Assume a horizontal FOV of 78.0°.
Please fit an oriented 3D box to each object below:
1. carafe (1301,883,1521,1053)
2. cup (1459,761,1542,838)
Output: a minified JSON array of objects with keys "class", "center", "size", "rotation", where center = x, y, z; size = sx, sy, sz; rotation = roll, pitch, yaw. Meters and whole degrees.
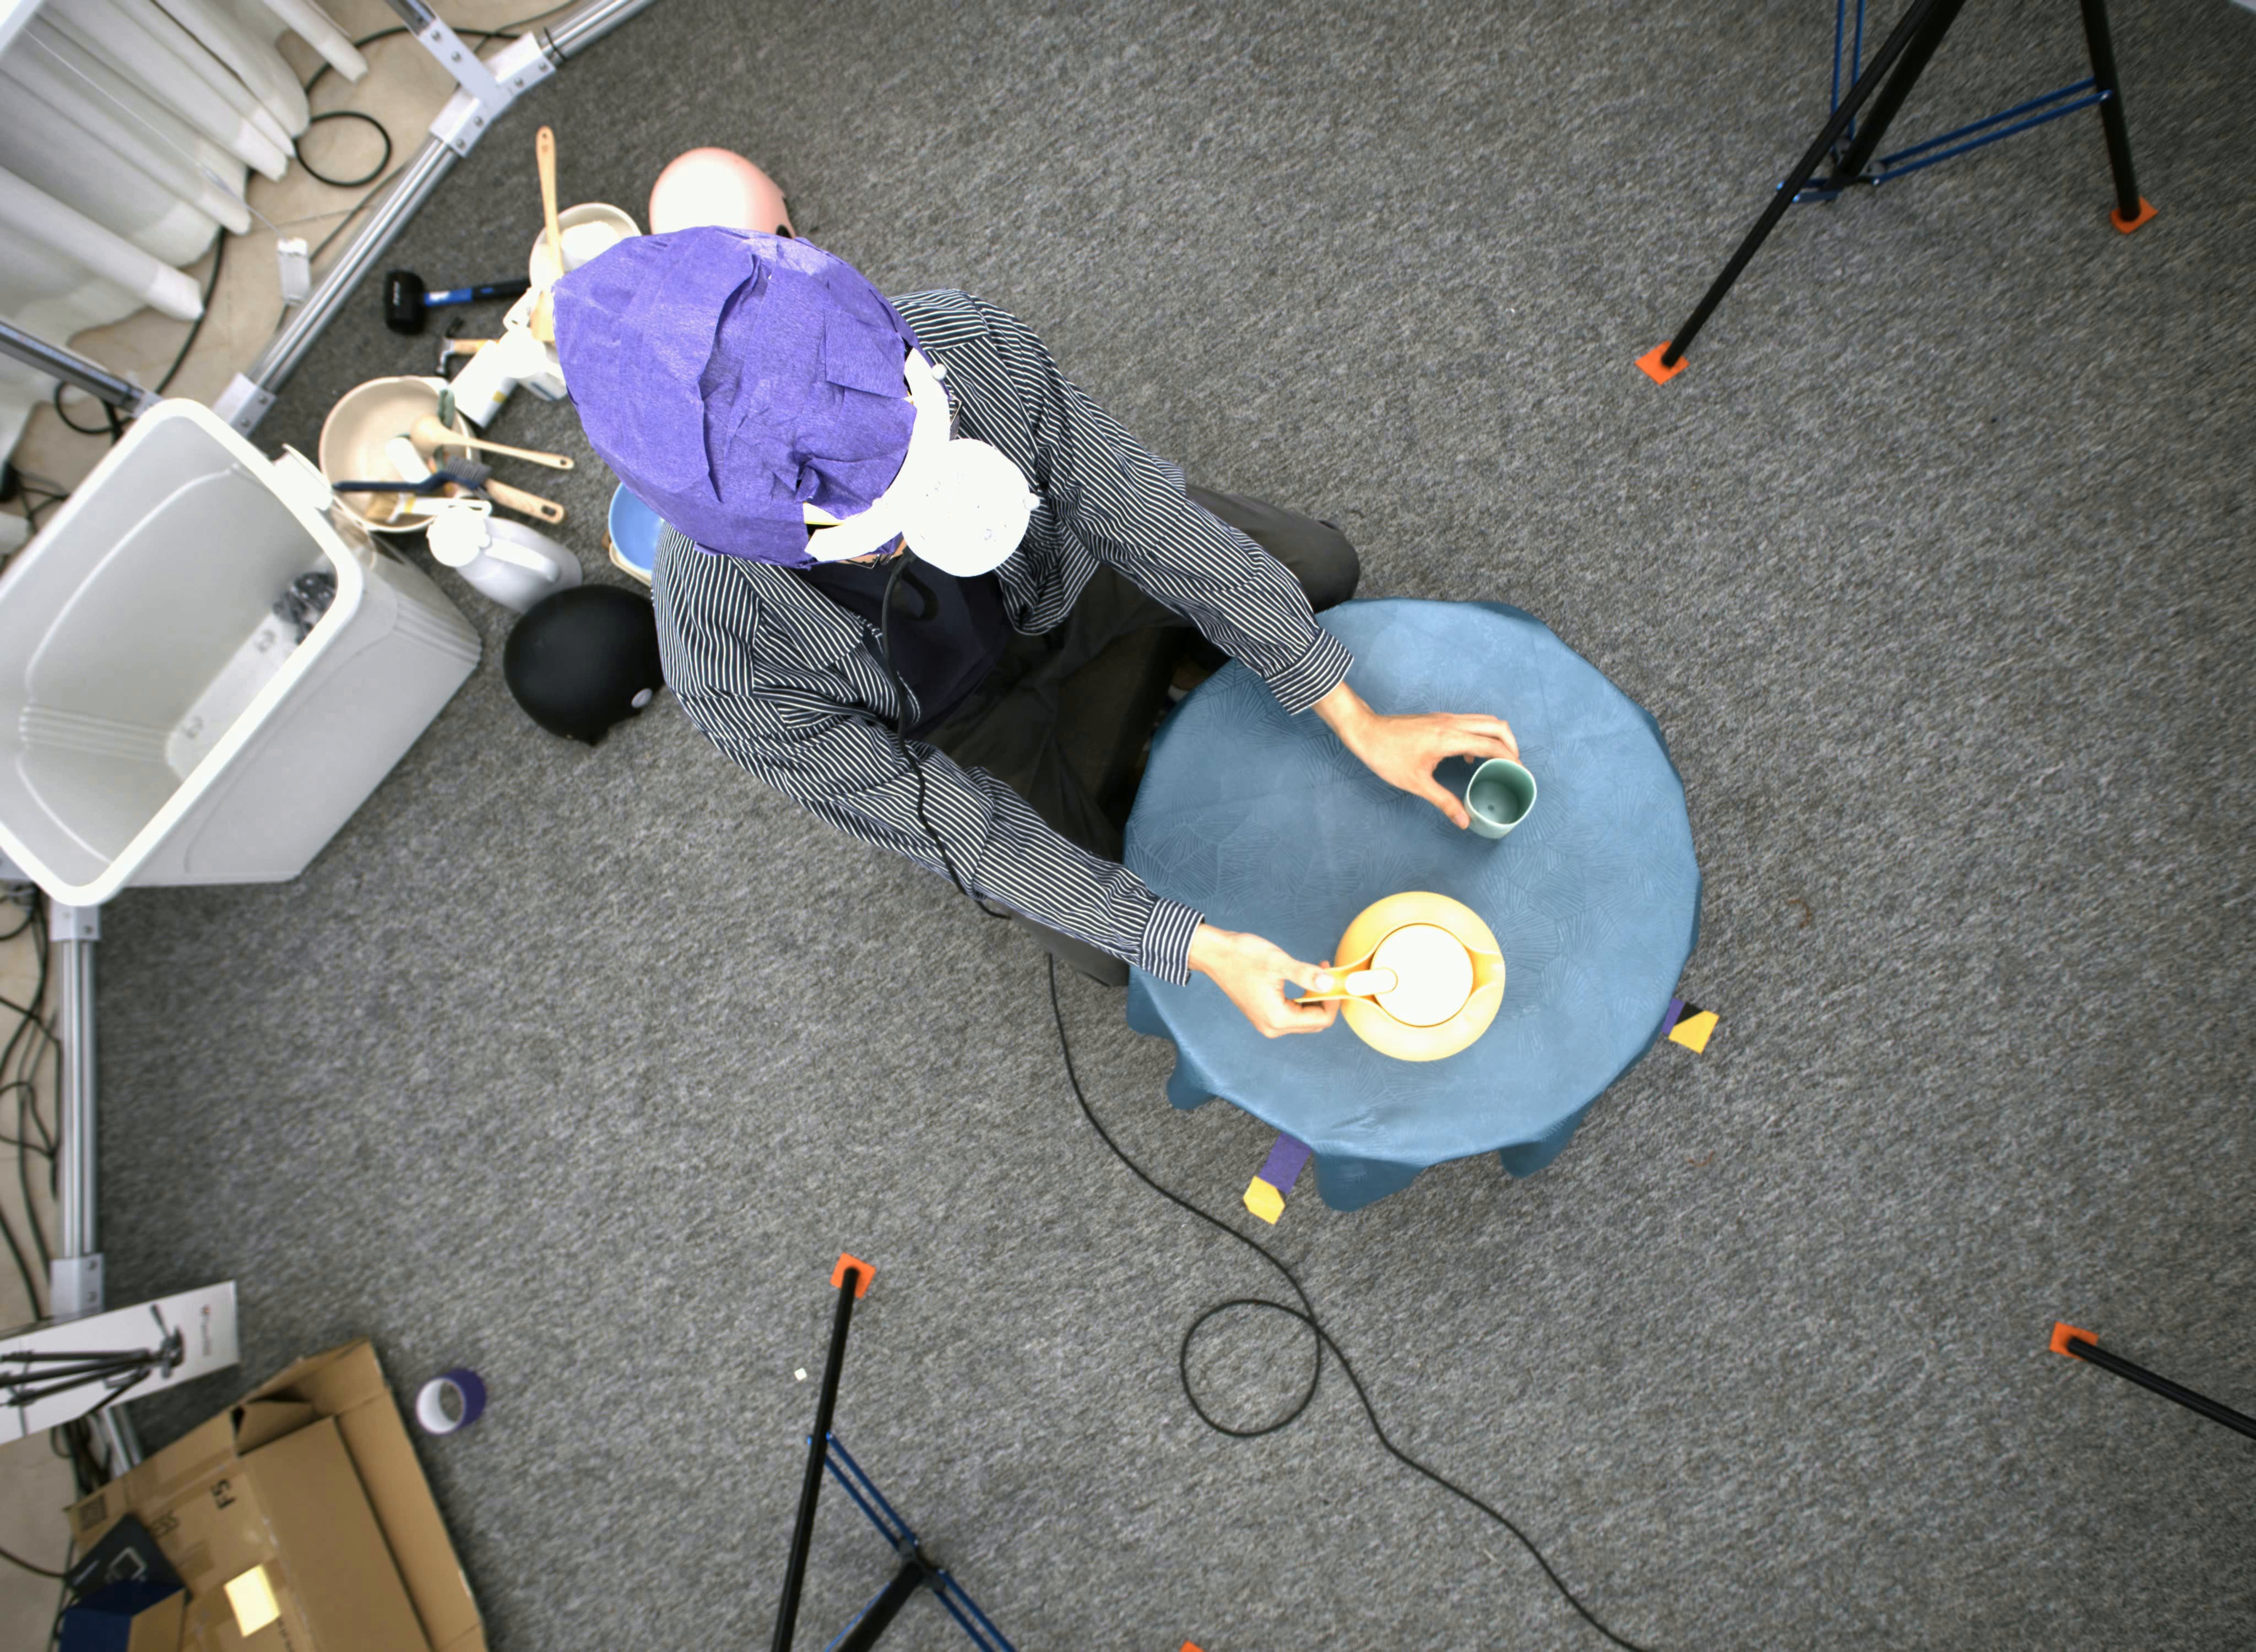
[{"class":"carafe","center":[0.267,0.135,1.315],"size":[0.203,0.261,0.162],"rotation":[-9,83,9]},{"class":"cup","center":[0.368,-0.027,1.371],"size":[0.067,0.132,0.066],"rotation":[0,86,8]}]
